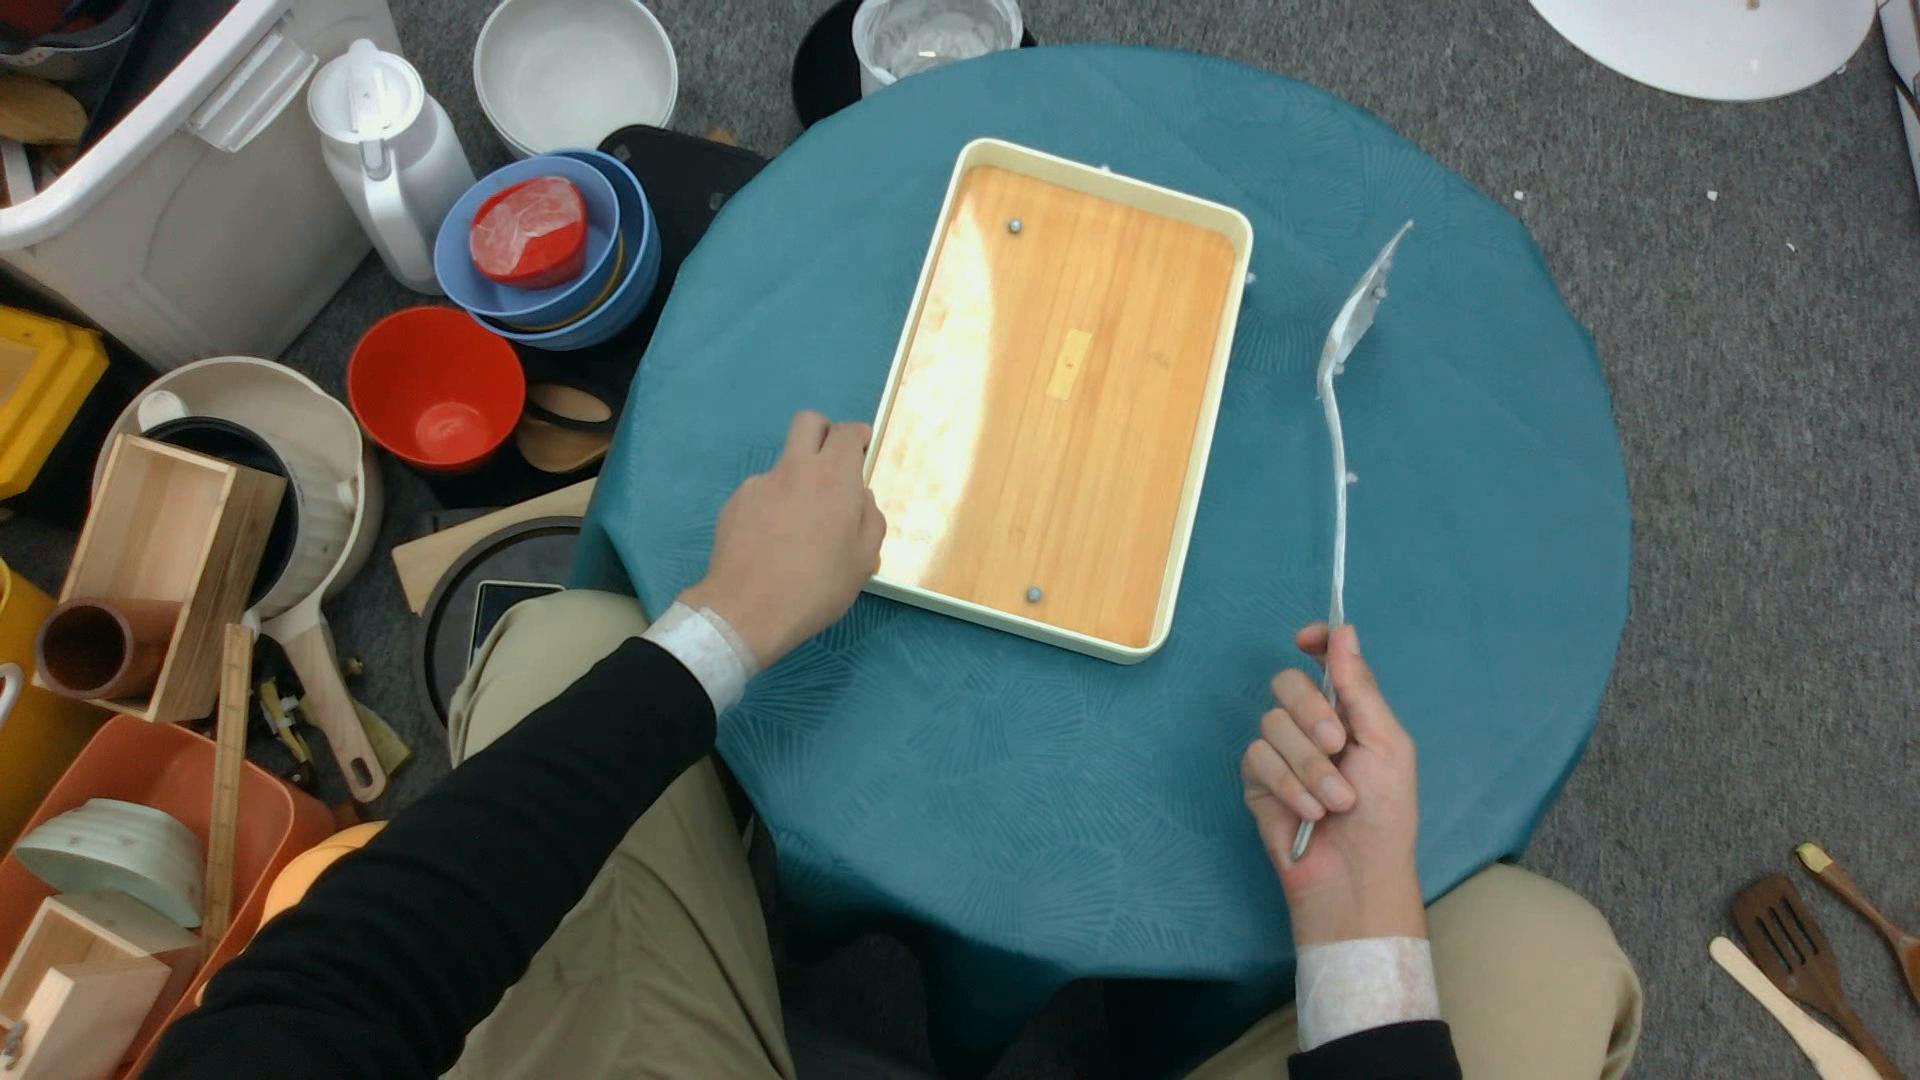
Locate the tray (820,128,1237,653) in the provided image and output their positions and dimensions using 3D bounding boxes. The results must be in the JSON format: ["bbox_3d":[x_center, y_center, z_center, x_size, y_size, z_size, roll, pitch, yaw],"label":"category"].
[{"bbox_3d":[0.047,-0.095,0.812,0.191,0.027,0.301,16,69,-2],"label":"tray"}]

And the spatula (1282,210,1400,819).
[{"bbox_3d":[0.204,-0.020,0.750,0.045,0.098,0.366,8,64,3],"label":"spatula"}]
